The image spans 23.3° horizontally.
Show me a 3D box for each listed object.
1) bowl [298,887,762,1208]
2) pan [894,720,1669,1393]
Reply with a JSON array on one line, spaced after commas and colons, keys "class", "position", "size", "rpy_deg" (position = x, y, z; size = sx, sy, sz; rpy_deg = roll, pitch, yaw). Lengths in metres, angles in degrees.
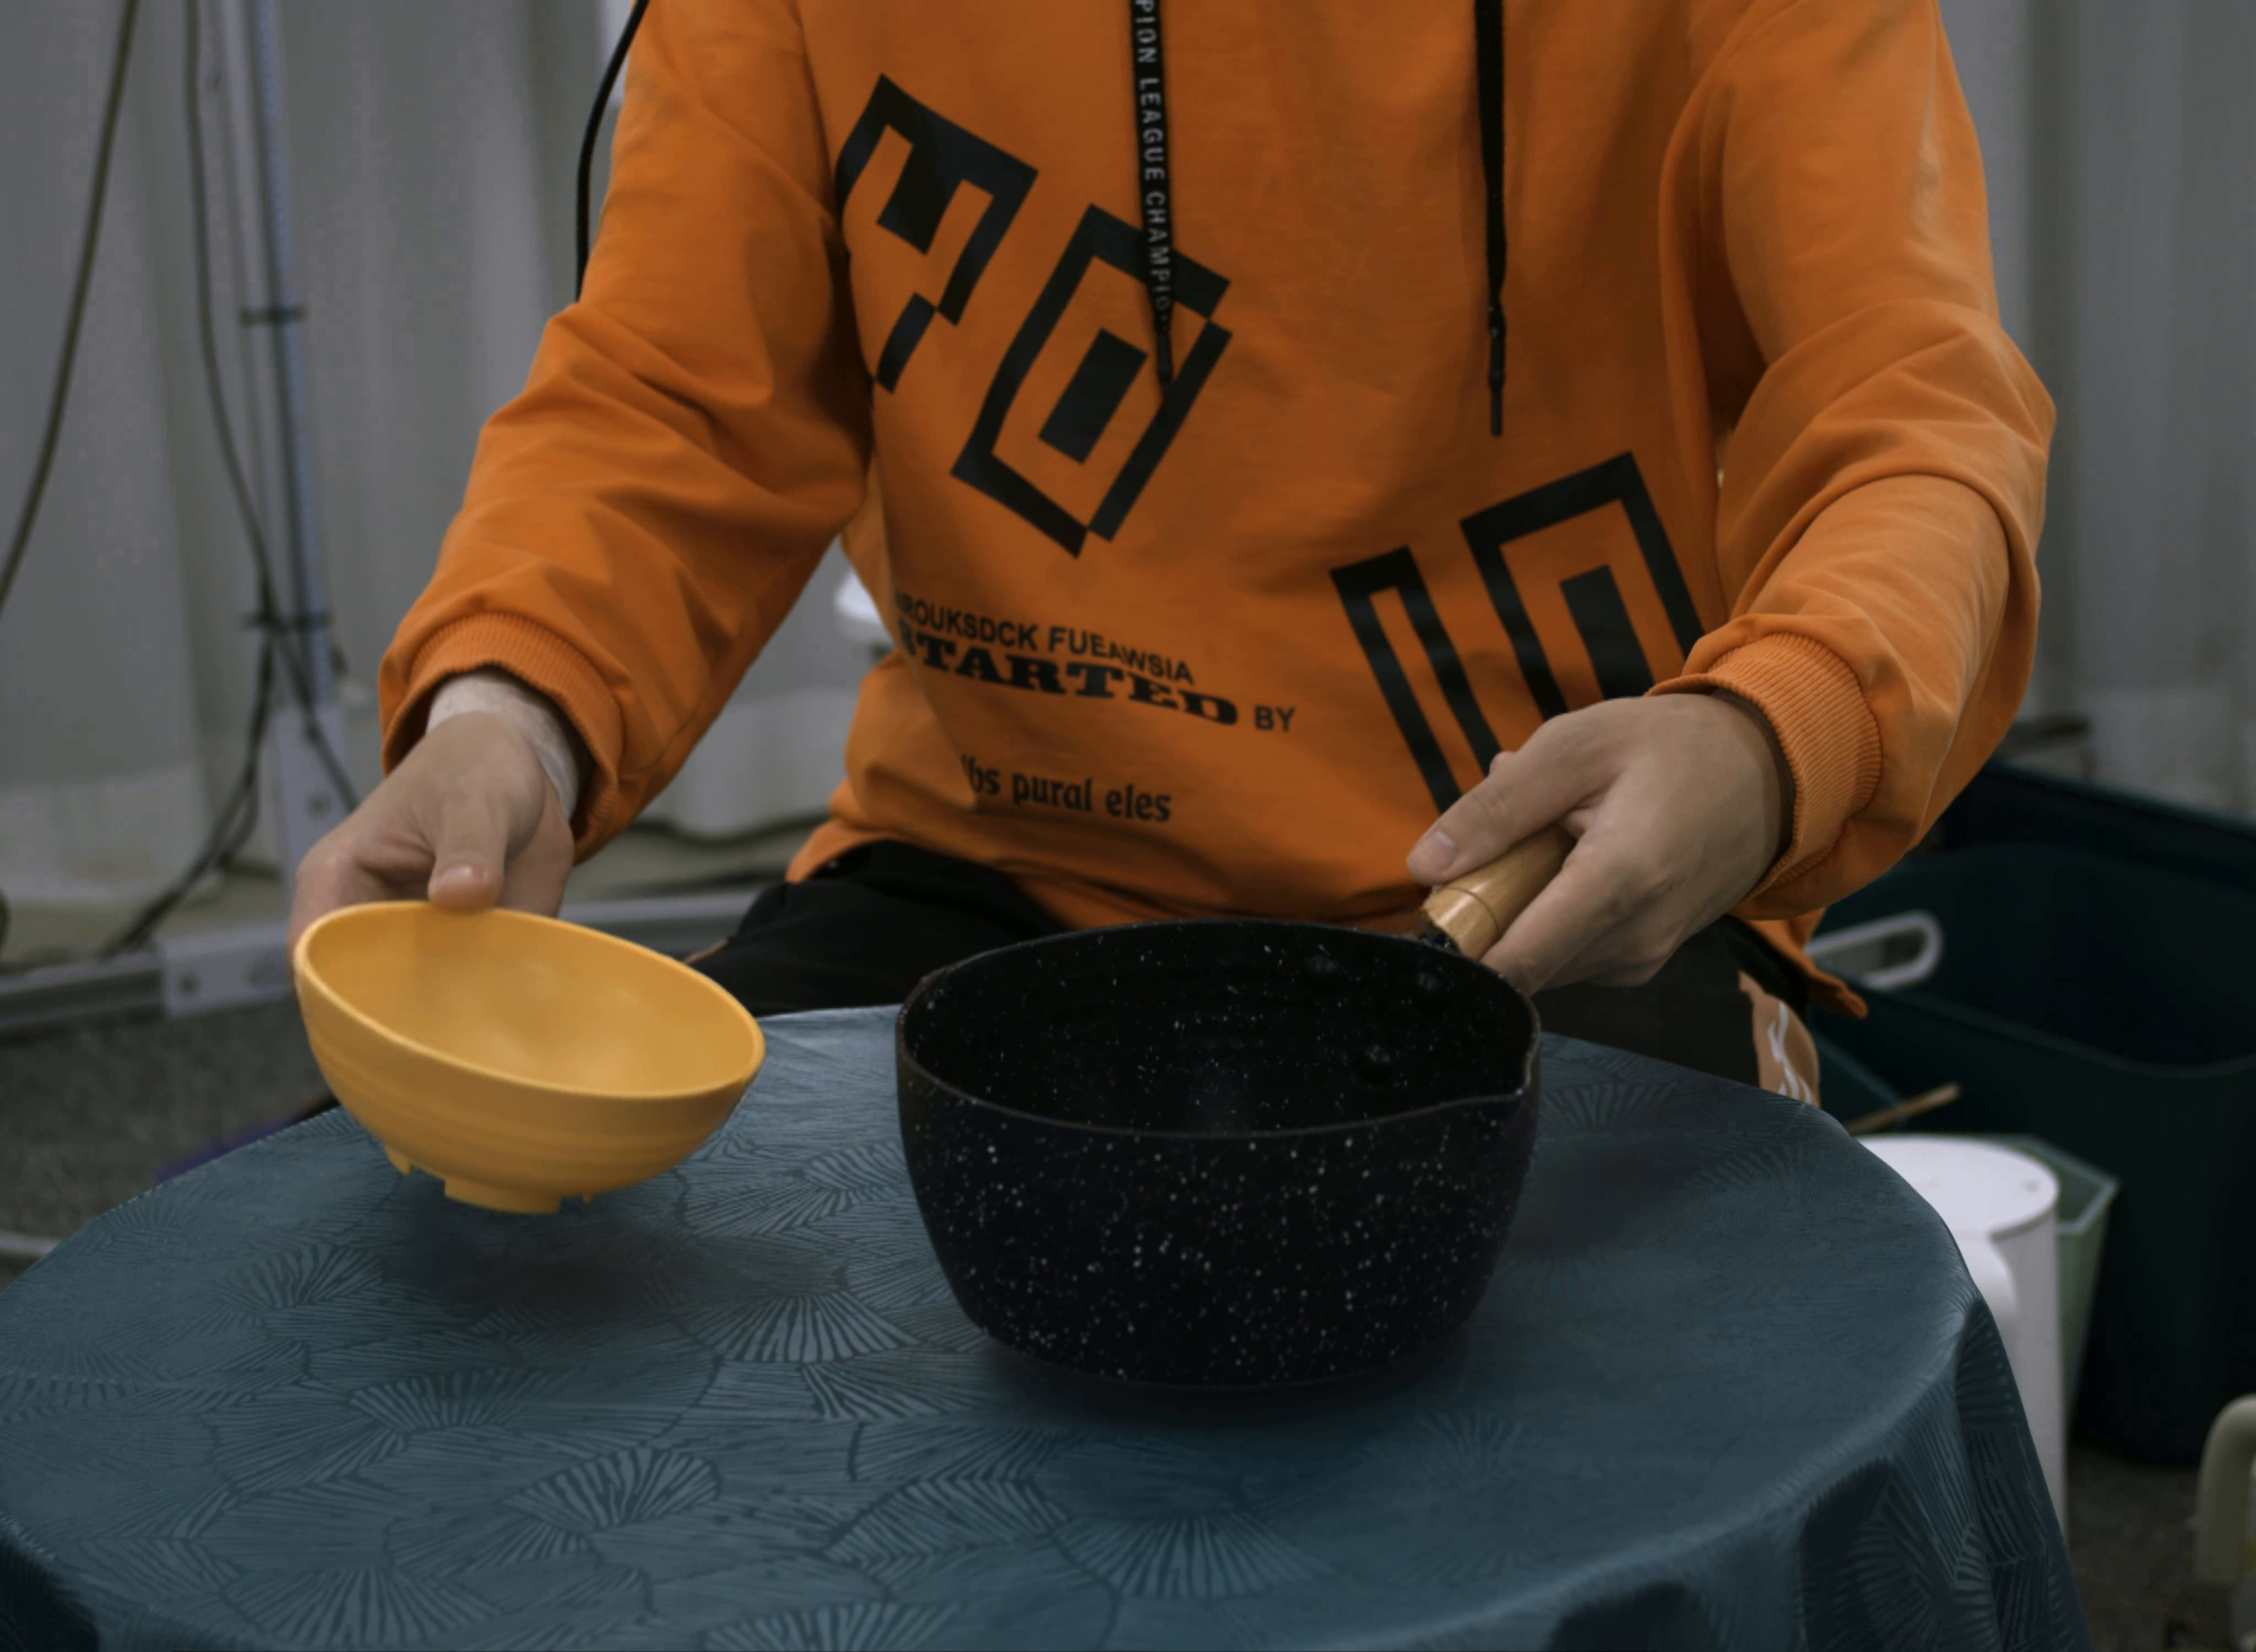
[{"class": "bowl", "position": [-0.188, 0.075, 1.658], "size": [0.145, 0.060, 0.146], "rpy_deg": [16, 16, -5]}, {"class": "pan", "position": [0.069, 0.063, 1.626], "size": [0.208, 0.107, 0.343], "rpy_deg": [9, 21, 31]}]
